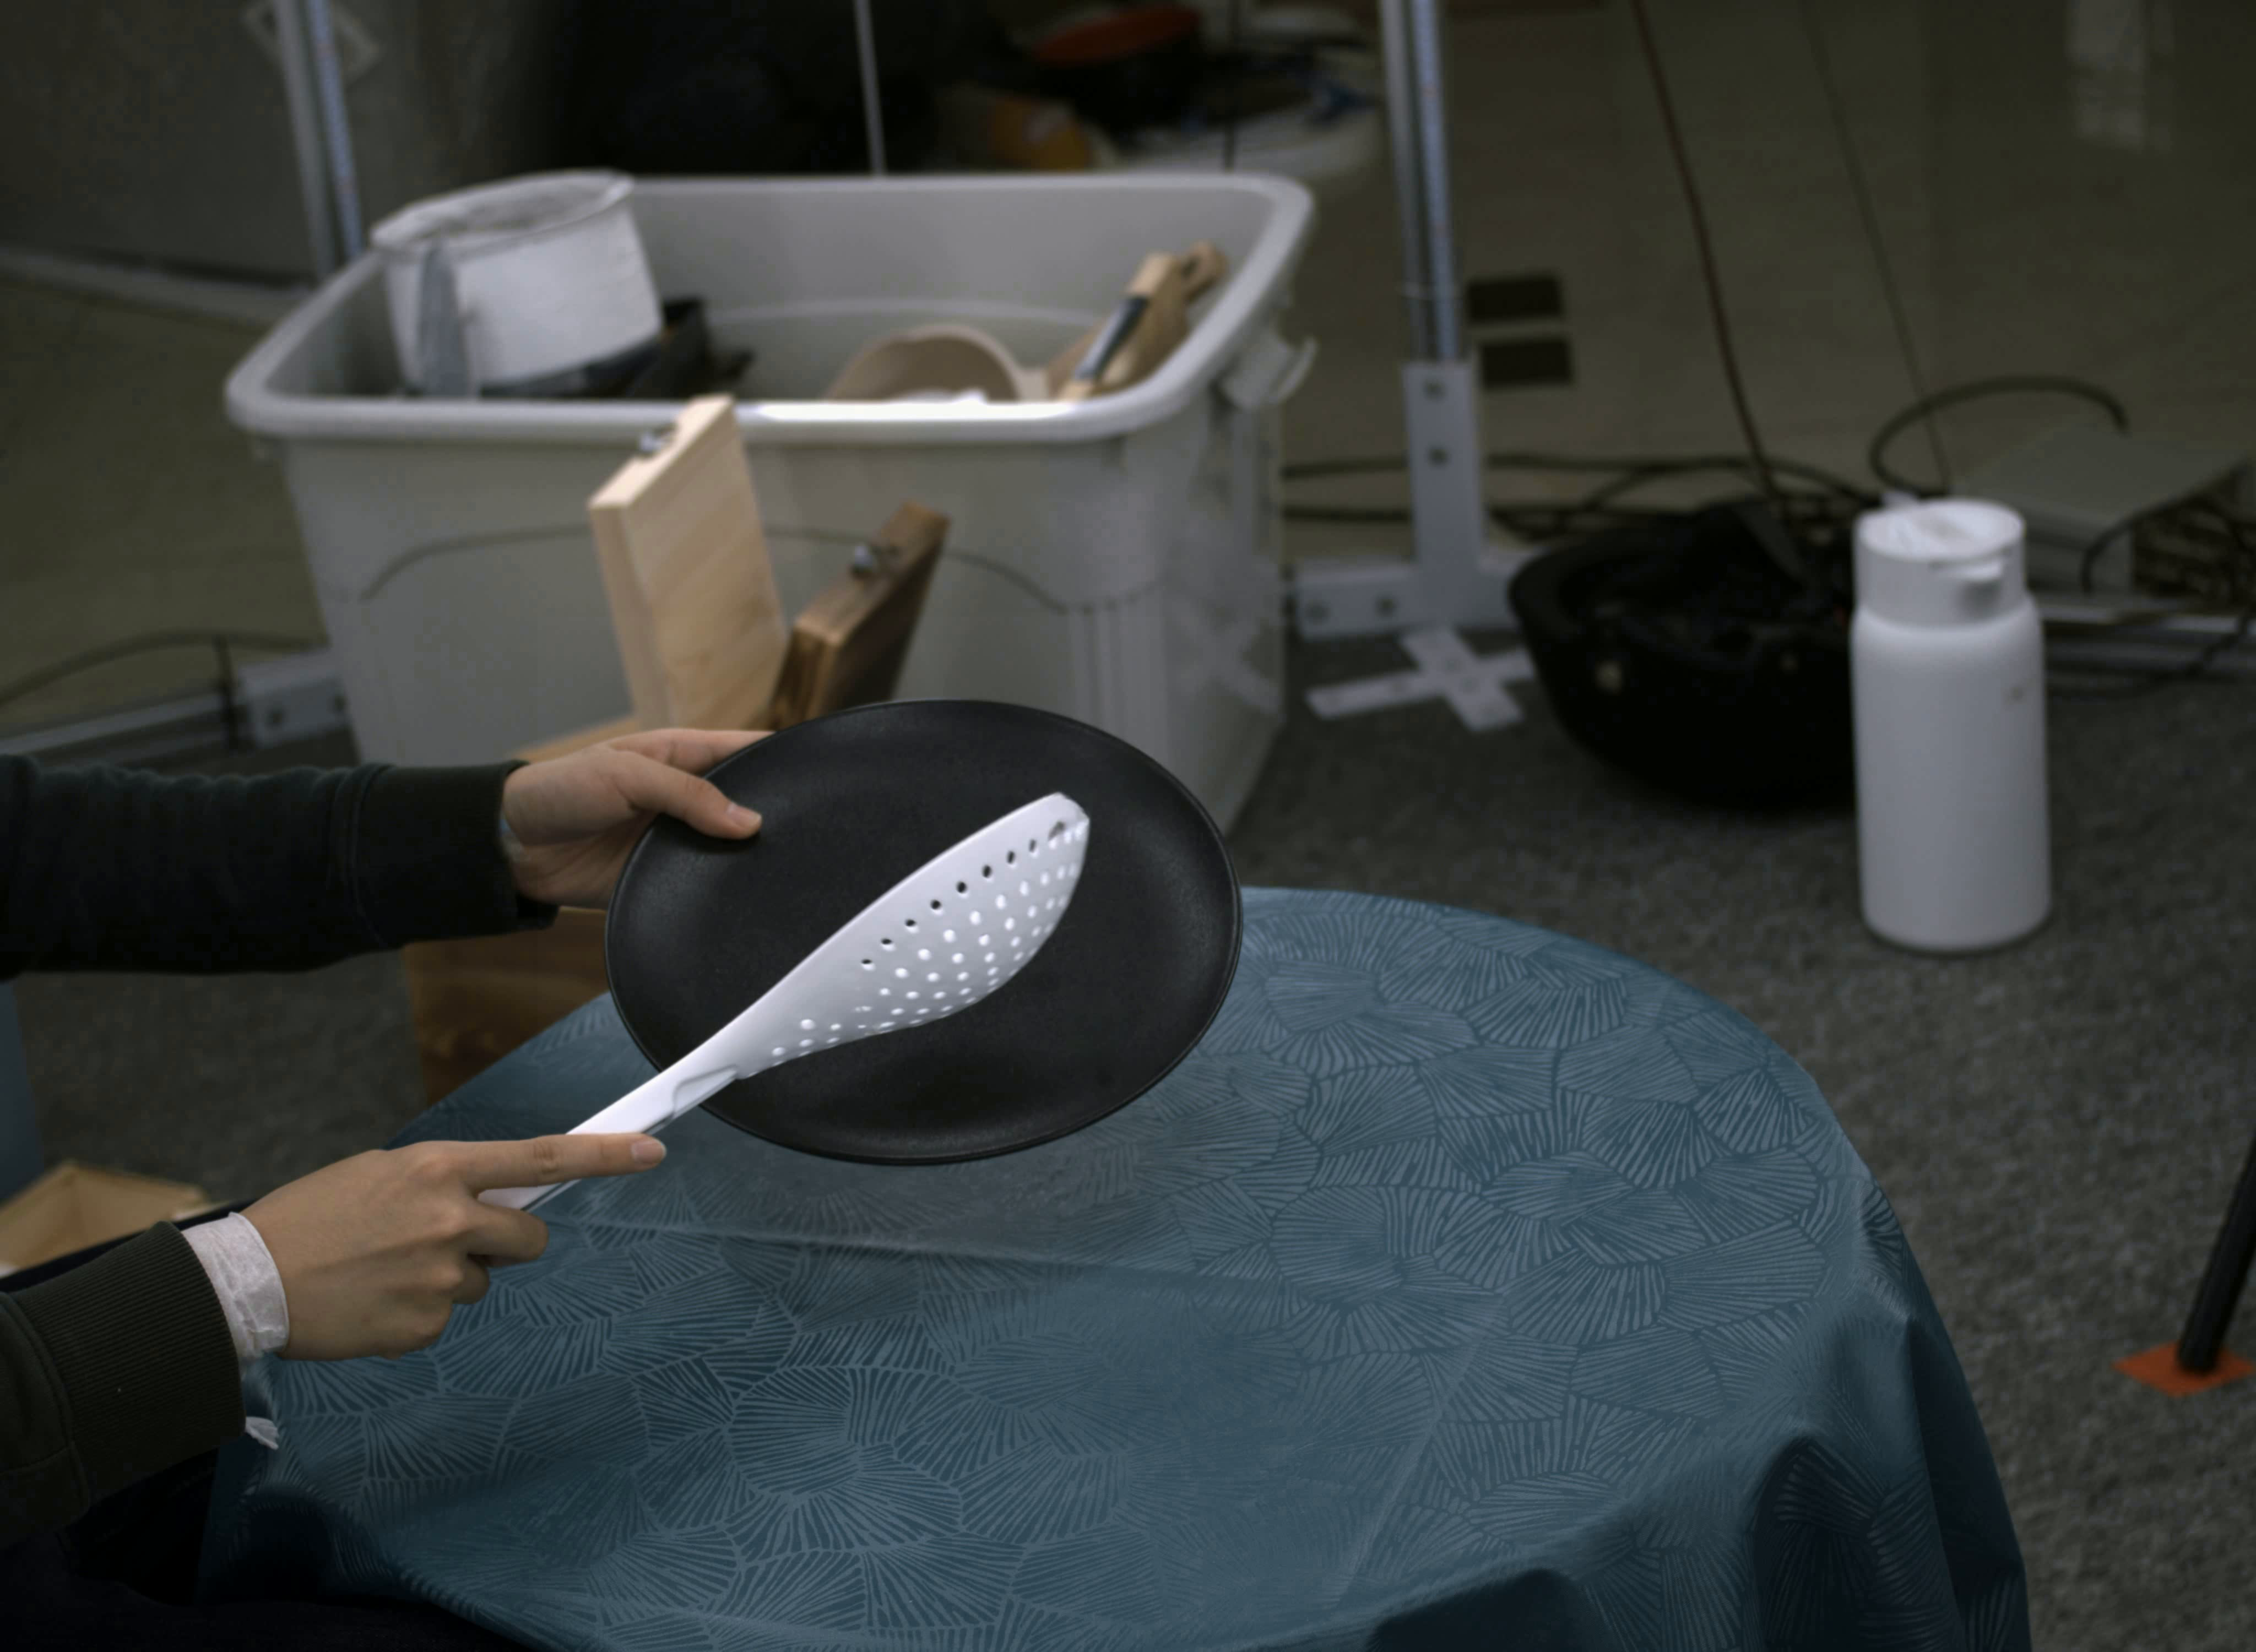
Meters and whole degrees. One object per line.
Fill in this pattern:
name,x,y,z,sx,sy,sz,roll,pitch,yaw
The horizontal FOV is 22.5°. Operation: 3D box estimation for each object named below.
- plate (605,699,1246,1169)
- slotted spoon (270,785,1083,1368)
plate,-0.076,0.044,2.158,0.244,0.024,0.240,-1,47,1
slotted spoon,-0.156,0.090,2.023,0.348,0.045,0.137,-29,-12,-12
